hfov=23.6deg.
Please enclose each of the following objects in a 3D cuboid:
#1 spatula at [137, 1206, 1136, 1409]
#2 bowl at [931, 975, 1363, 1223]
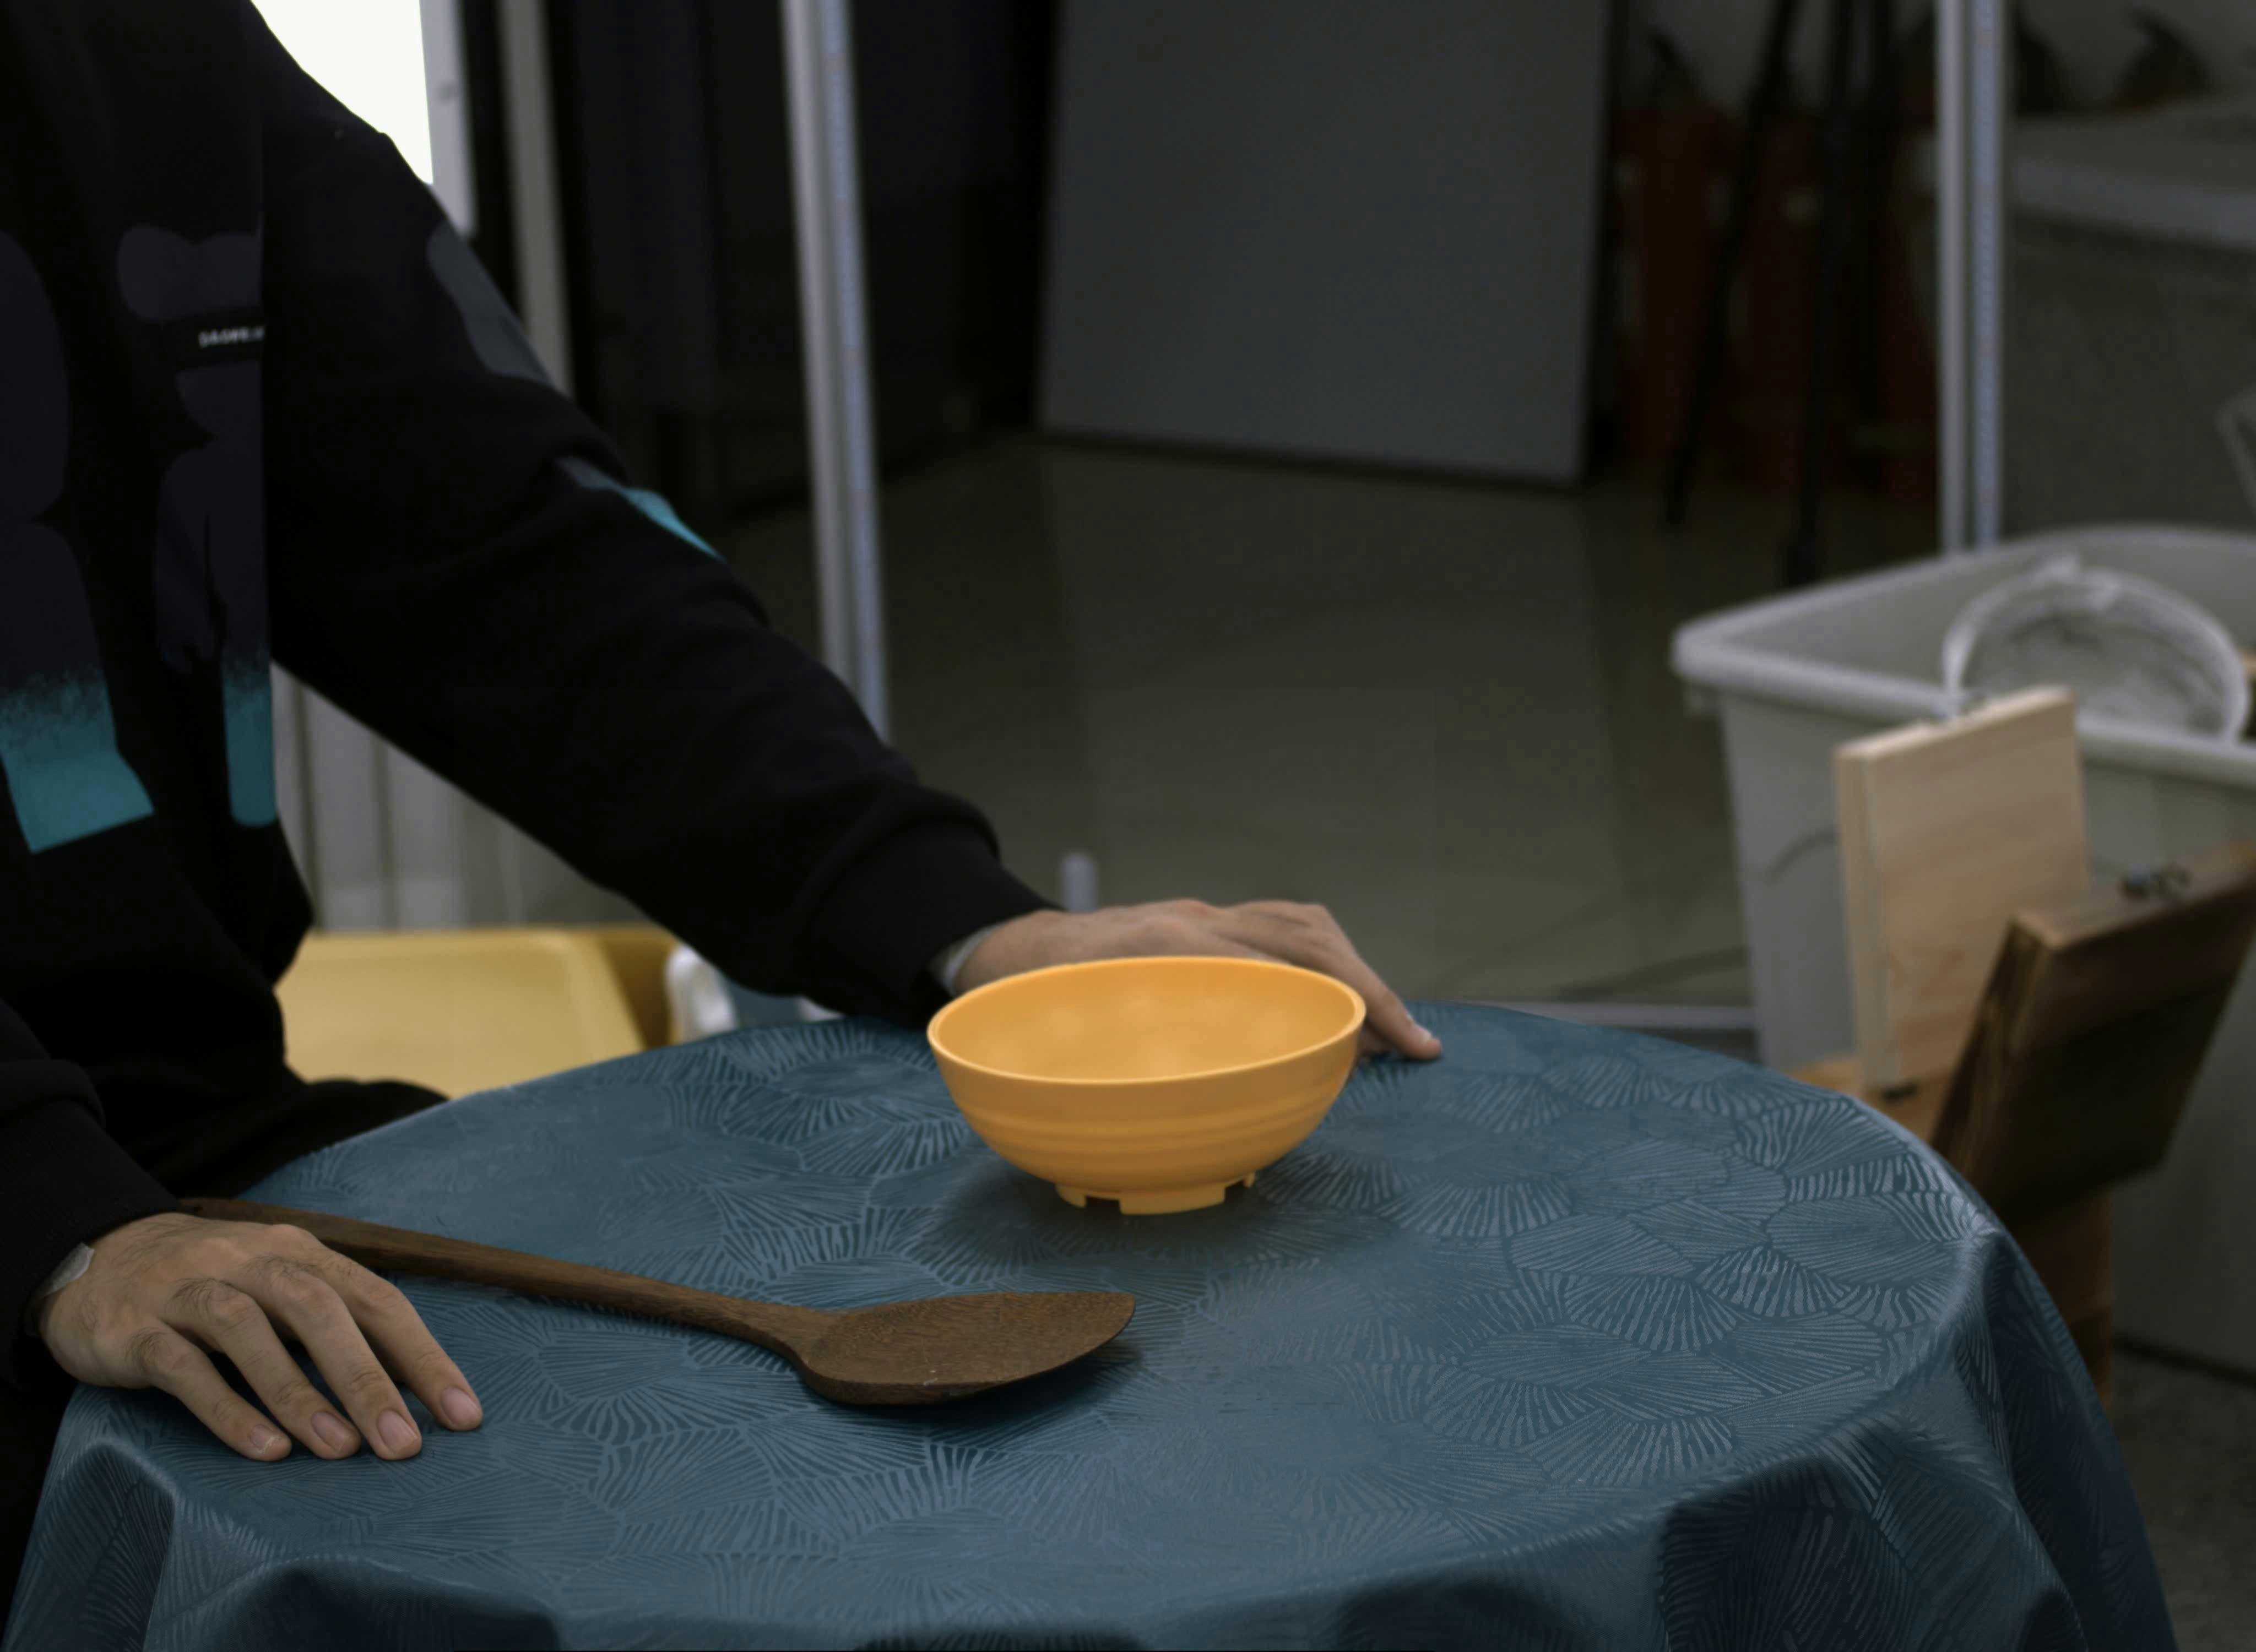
[{"bbox_3d":[-0.169,0.146,1.695,0.388,0.016,0.094,5,16,35],"label":"spatula"},{"bbox_3d":[0.007,0.093,1.768,0.143,0.061,0.145,-4,11,0],"label":"bowl"}]
